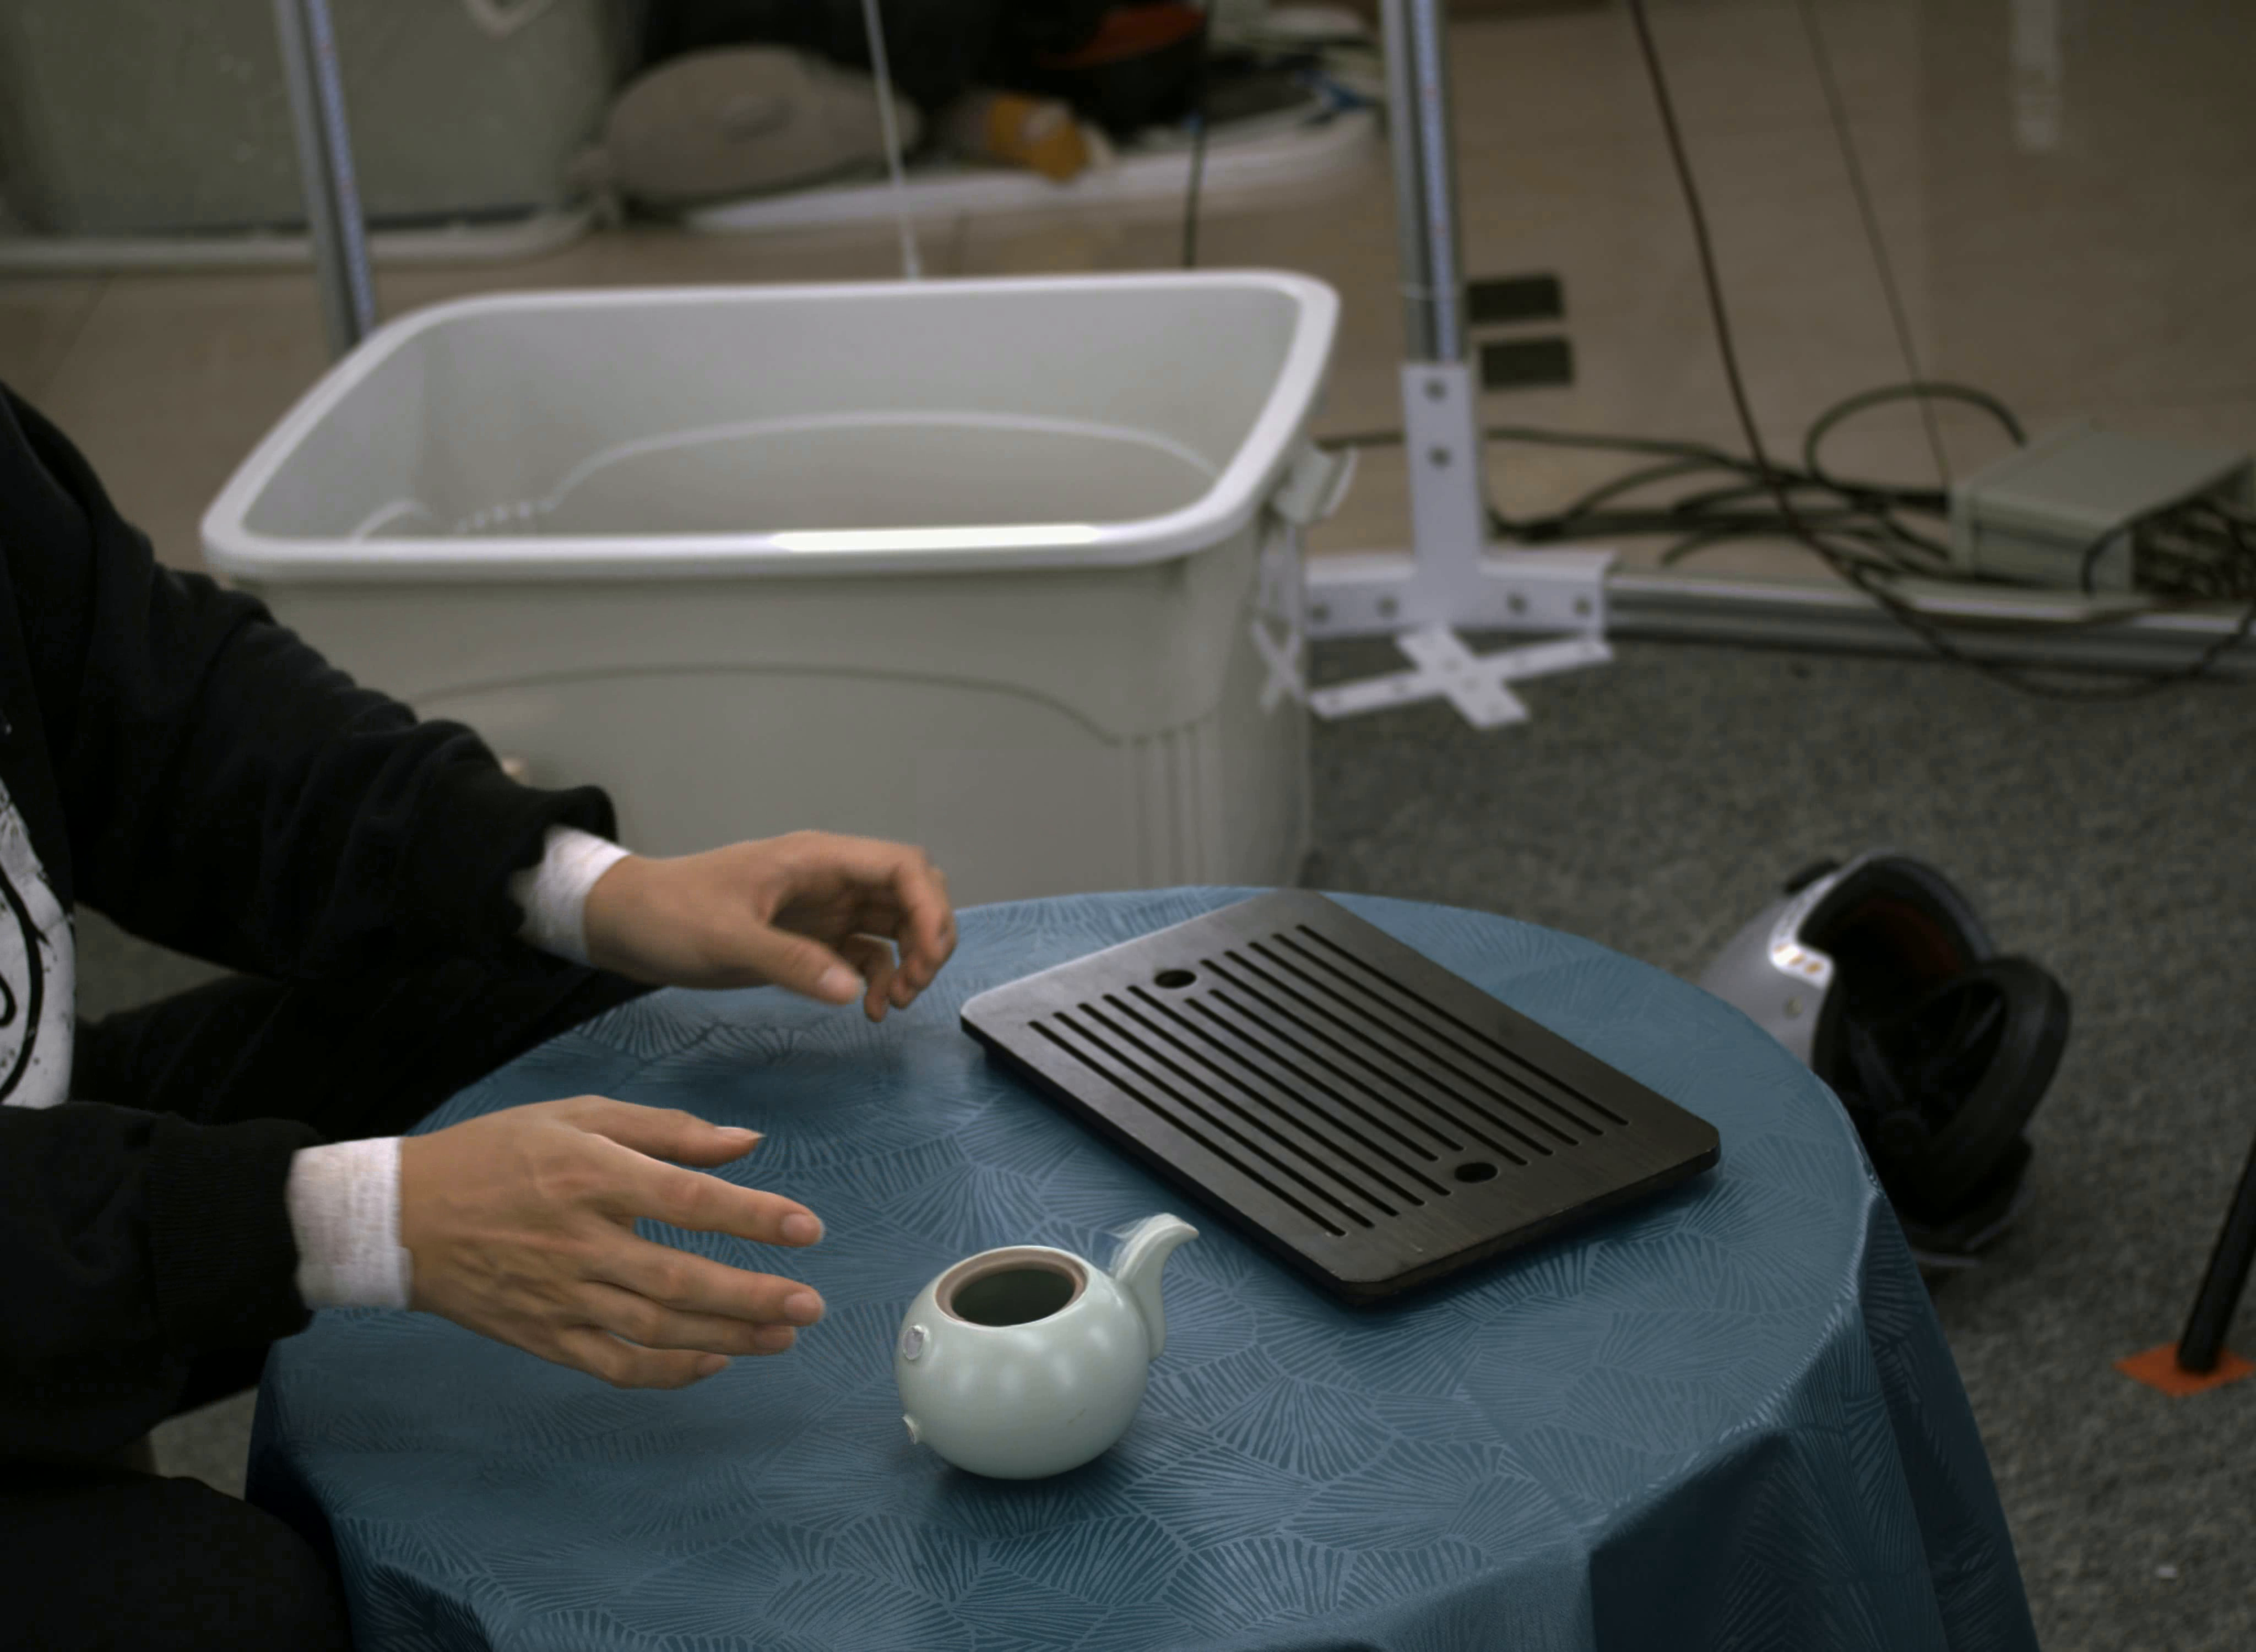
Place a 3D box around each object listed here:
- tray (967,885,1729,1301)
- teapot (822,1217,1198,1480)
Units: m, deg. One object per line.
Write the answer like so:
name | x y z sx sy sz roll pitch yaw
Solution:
tray | 0.080 0.100 2.193 0.169 0.019 0.302 -19 28 -25
teapot | -0.038 0.185 1.973 0.143 0.076 0.087 -14 26 -20
